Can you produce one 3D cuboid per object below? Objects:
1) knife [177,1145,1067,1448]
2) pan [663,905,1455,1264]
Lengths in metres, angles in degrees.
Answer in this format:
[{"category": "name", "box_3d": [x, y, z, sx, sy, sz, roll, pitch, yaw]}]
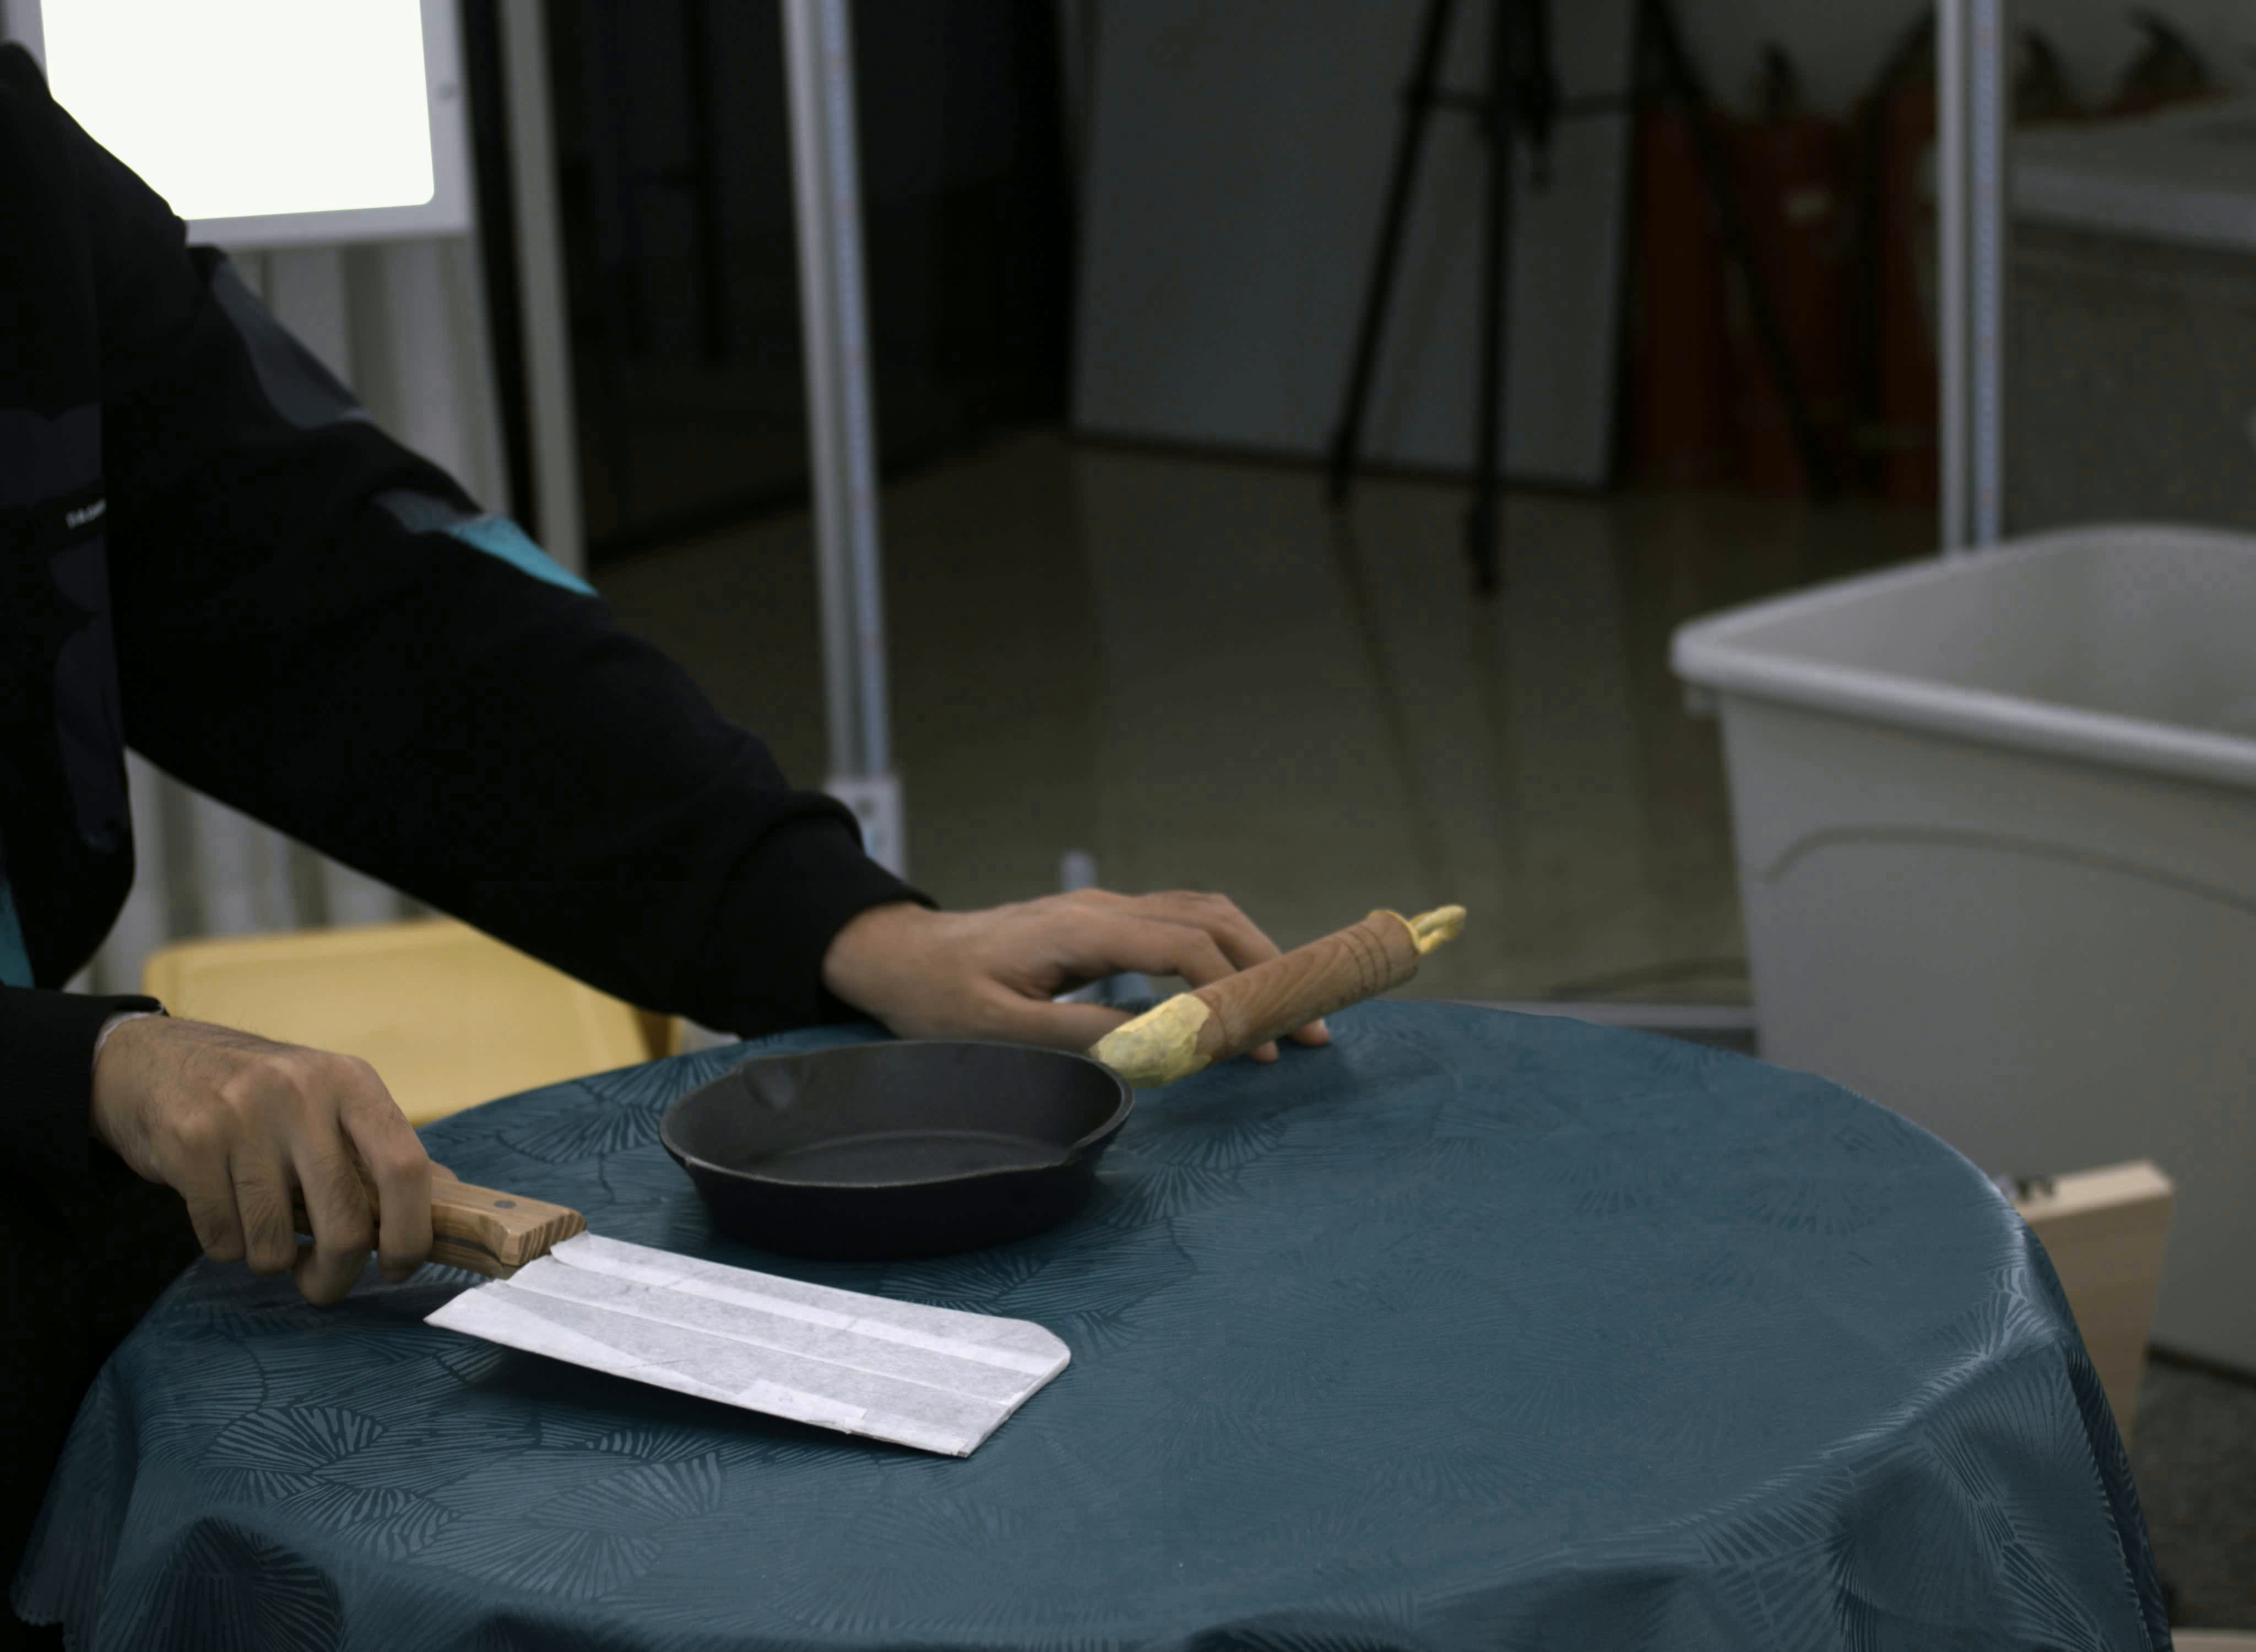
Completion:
[{"category": "knife", "box_3d": [-0.160, 0.142, 1.652, 0.316, 0.022, 0.112, 12, 19, 29]}, {"category": "pan", "box_3d": [-0.009, 0.084, 1.818, 0.317, 0.050, 0.171, -16, 17, -34]}]
